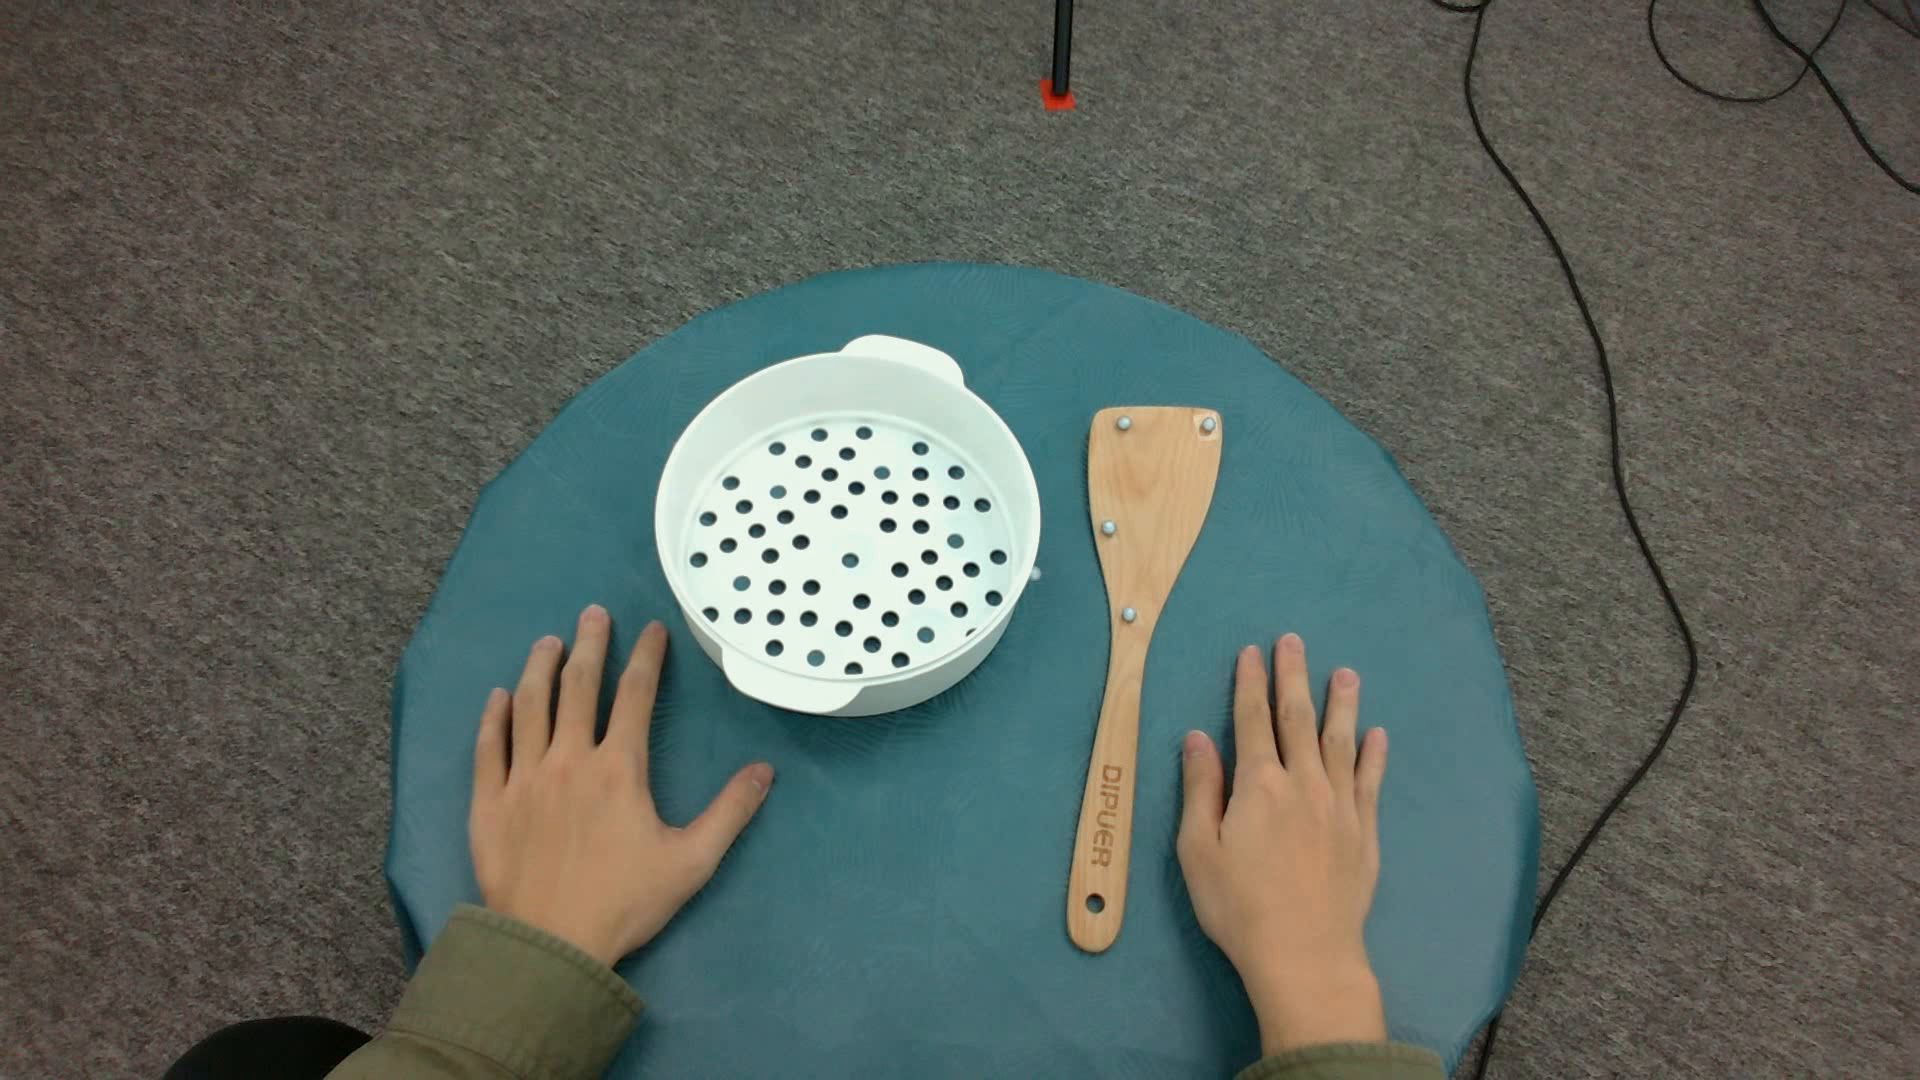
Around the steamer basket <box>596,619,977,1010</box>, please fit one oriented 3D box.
[{"bbox_3d":[-0.092,0.153,0.755,0.202,0.069,0.231,5,51,4],"label":"steamer basket"}]

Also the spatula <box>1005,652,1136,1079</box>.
[{"bbox_3d":[0.066,0.198,0.750,0.080,0.016,0.329,0,49,0],"label":"spatula"}]
